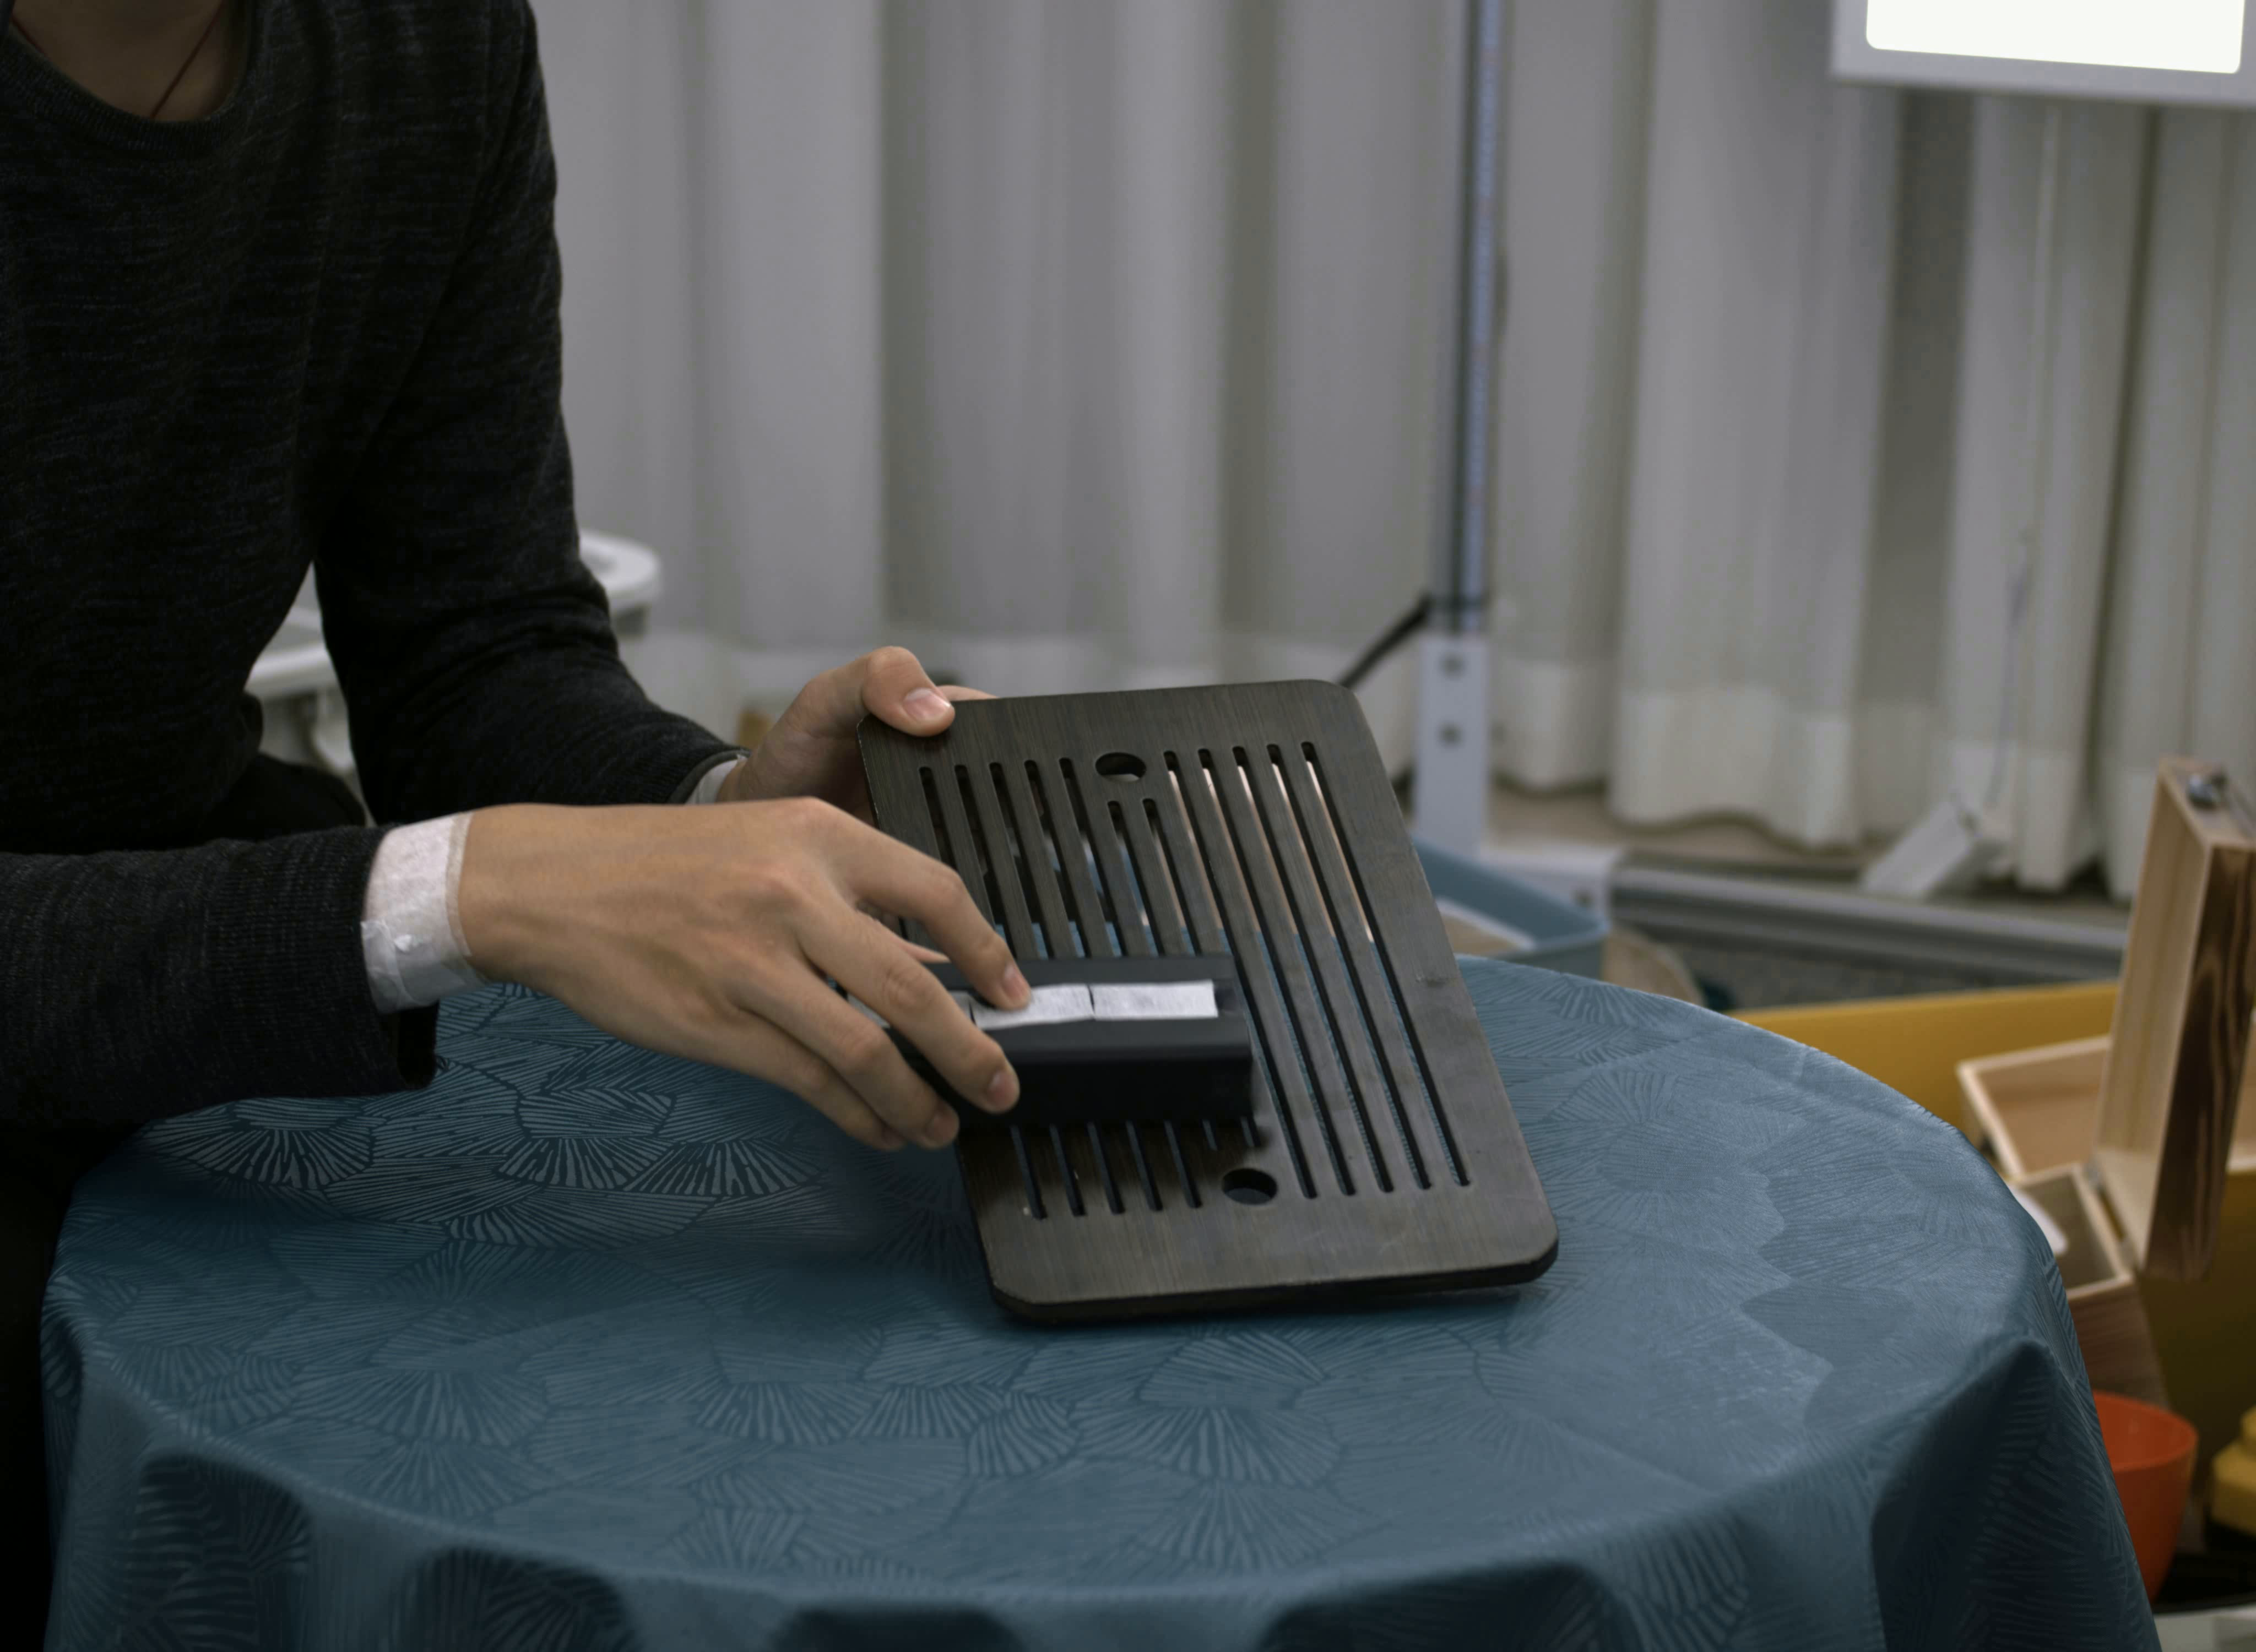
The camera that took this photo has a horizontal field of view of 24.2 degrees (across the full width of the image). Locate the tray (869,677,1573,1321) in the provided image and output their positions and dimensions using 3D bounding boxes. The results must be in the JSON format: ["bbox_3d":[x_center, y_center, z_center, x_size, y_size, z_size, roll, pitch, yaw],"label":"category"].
[{"bbox_3d":[0.022,0.049,1.634,0.170,0.019,0.302,-4,36,-10],"label":"tray"}]

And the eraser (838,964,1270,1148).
[{"bbox_3d":[-0.023,0.068,1.569,0.125,0.031,0.053,-3,34,-6],"label":"eraser"}]
